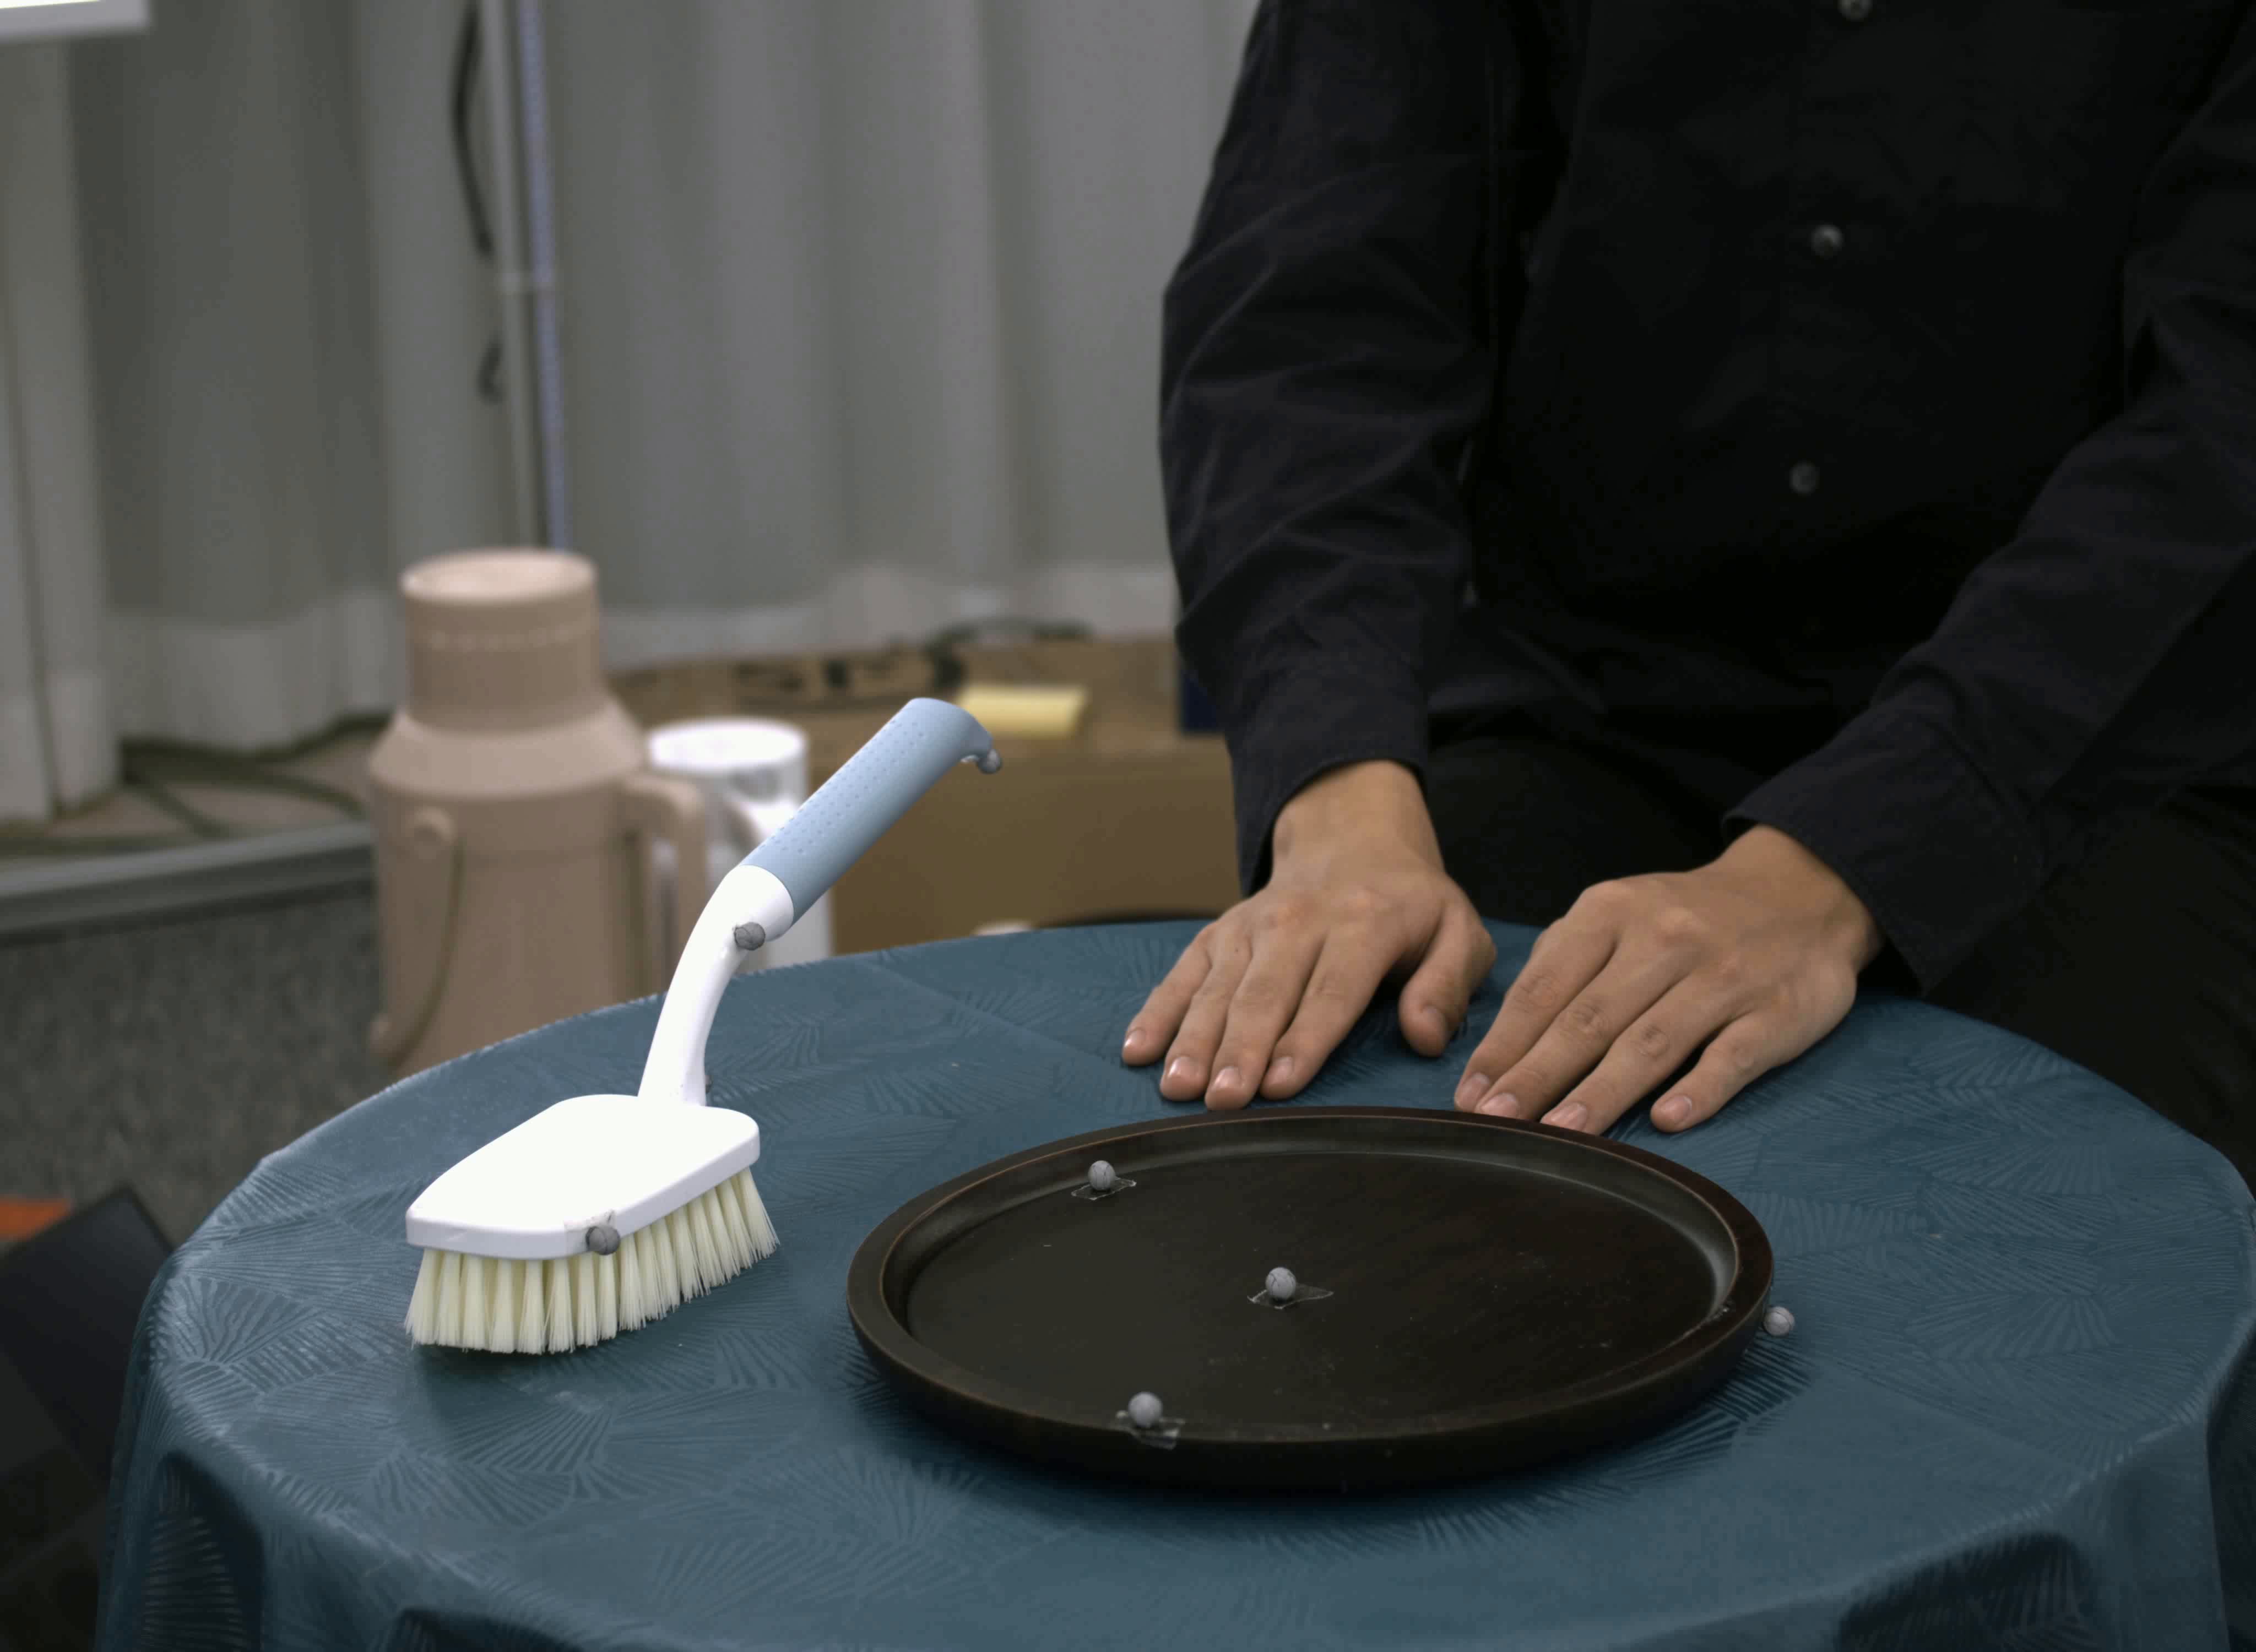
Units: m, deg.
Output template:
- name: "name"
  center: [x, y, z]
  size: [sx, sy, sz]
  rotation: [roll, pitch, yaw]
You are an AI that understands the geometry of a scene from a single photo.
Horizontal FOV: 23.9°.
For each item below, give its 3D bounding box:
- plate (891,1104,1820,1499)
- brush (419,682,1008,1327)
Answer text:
- name: "plate"
  center: [0.062, 0.127, 1.442]
  size: [0.253, 0.029, 0.256]
  rotation: [-5, 15, 0]
- name: "brush"
  center: [-0.108, 0.066, 1.579]
  size: [0.083, 0.085, 0.322]
  rotation: [37, 39, 6]
